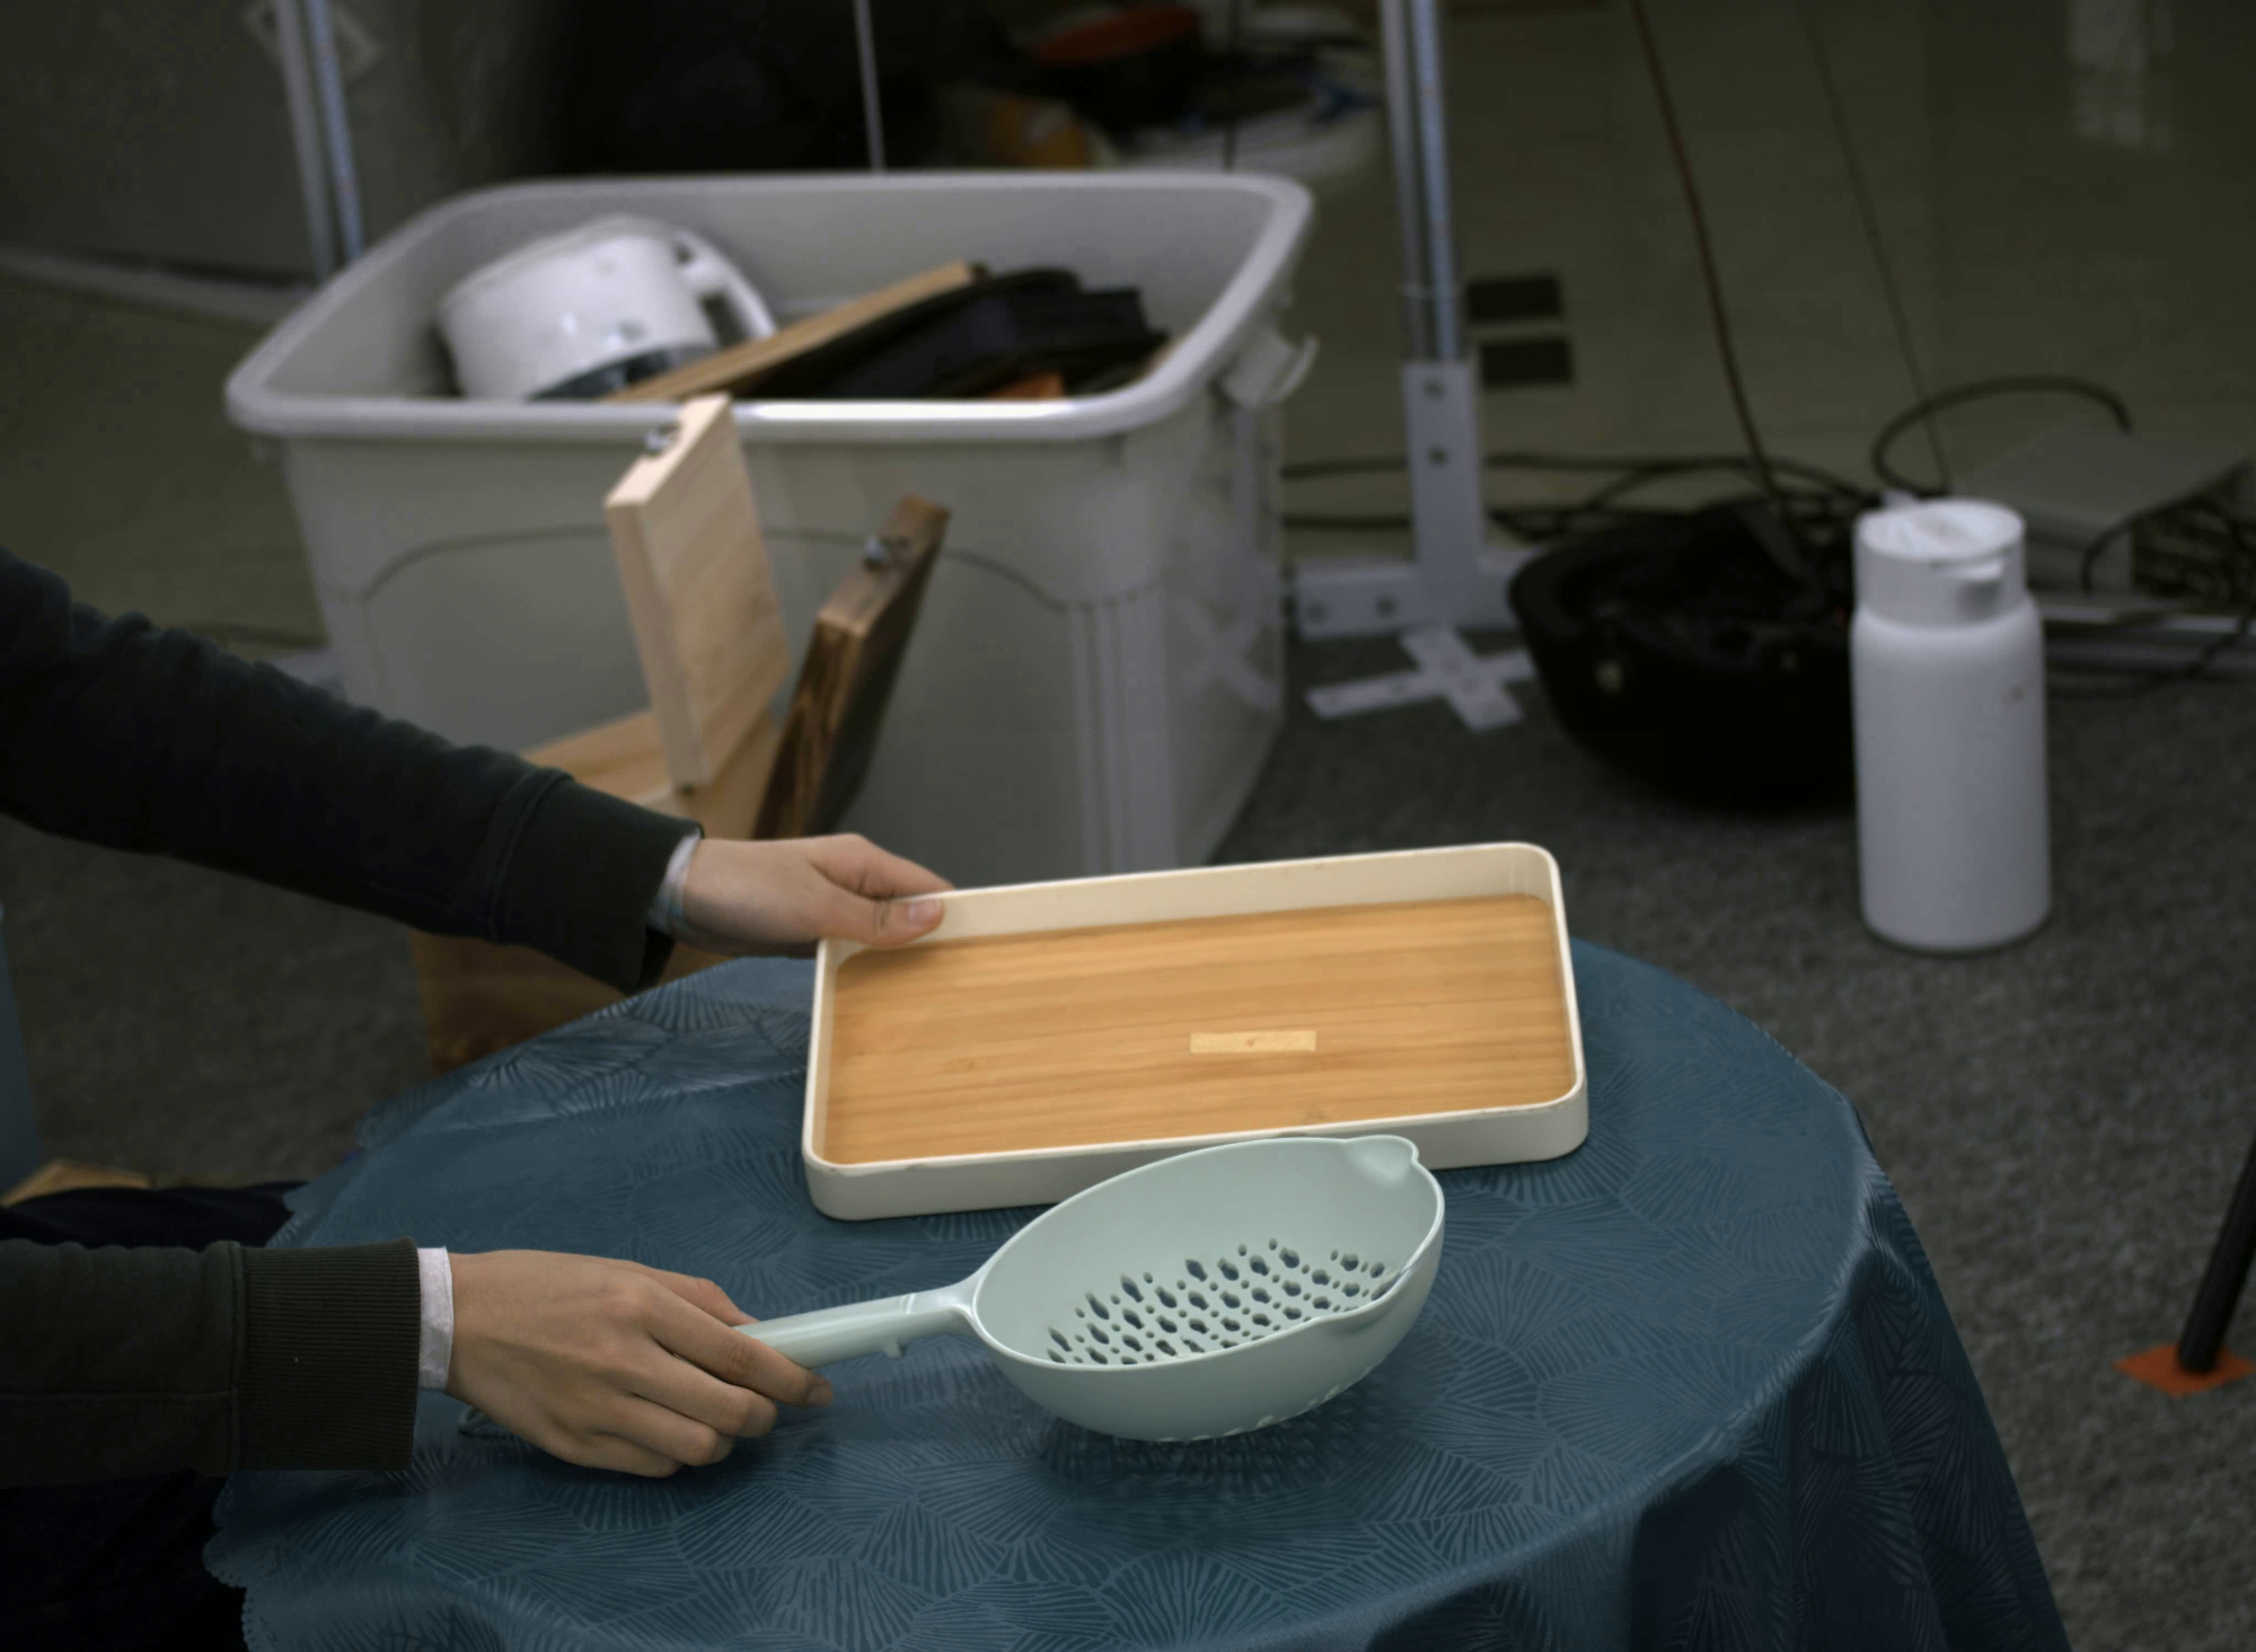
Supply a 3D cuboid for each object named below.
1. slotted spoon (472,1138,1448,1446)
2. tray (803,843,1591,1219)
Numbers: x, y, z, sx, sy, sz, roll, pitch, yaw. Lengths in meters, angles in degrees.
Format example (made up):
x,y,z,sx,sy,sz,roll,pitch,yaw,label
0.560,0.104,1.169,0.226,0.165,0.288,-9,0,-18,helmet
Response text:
x,y,z,sx,sy,sz,roll,pitch,yaw,label
-0.063,0.178,2.008,0.358,0.076,0.167,-3,22,8,slotted spoon
0.026,0.079,2.217,0.300,0.028,0.188,-5,33,3,tray
